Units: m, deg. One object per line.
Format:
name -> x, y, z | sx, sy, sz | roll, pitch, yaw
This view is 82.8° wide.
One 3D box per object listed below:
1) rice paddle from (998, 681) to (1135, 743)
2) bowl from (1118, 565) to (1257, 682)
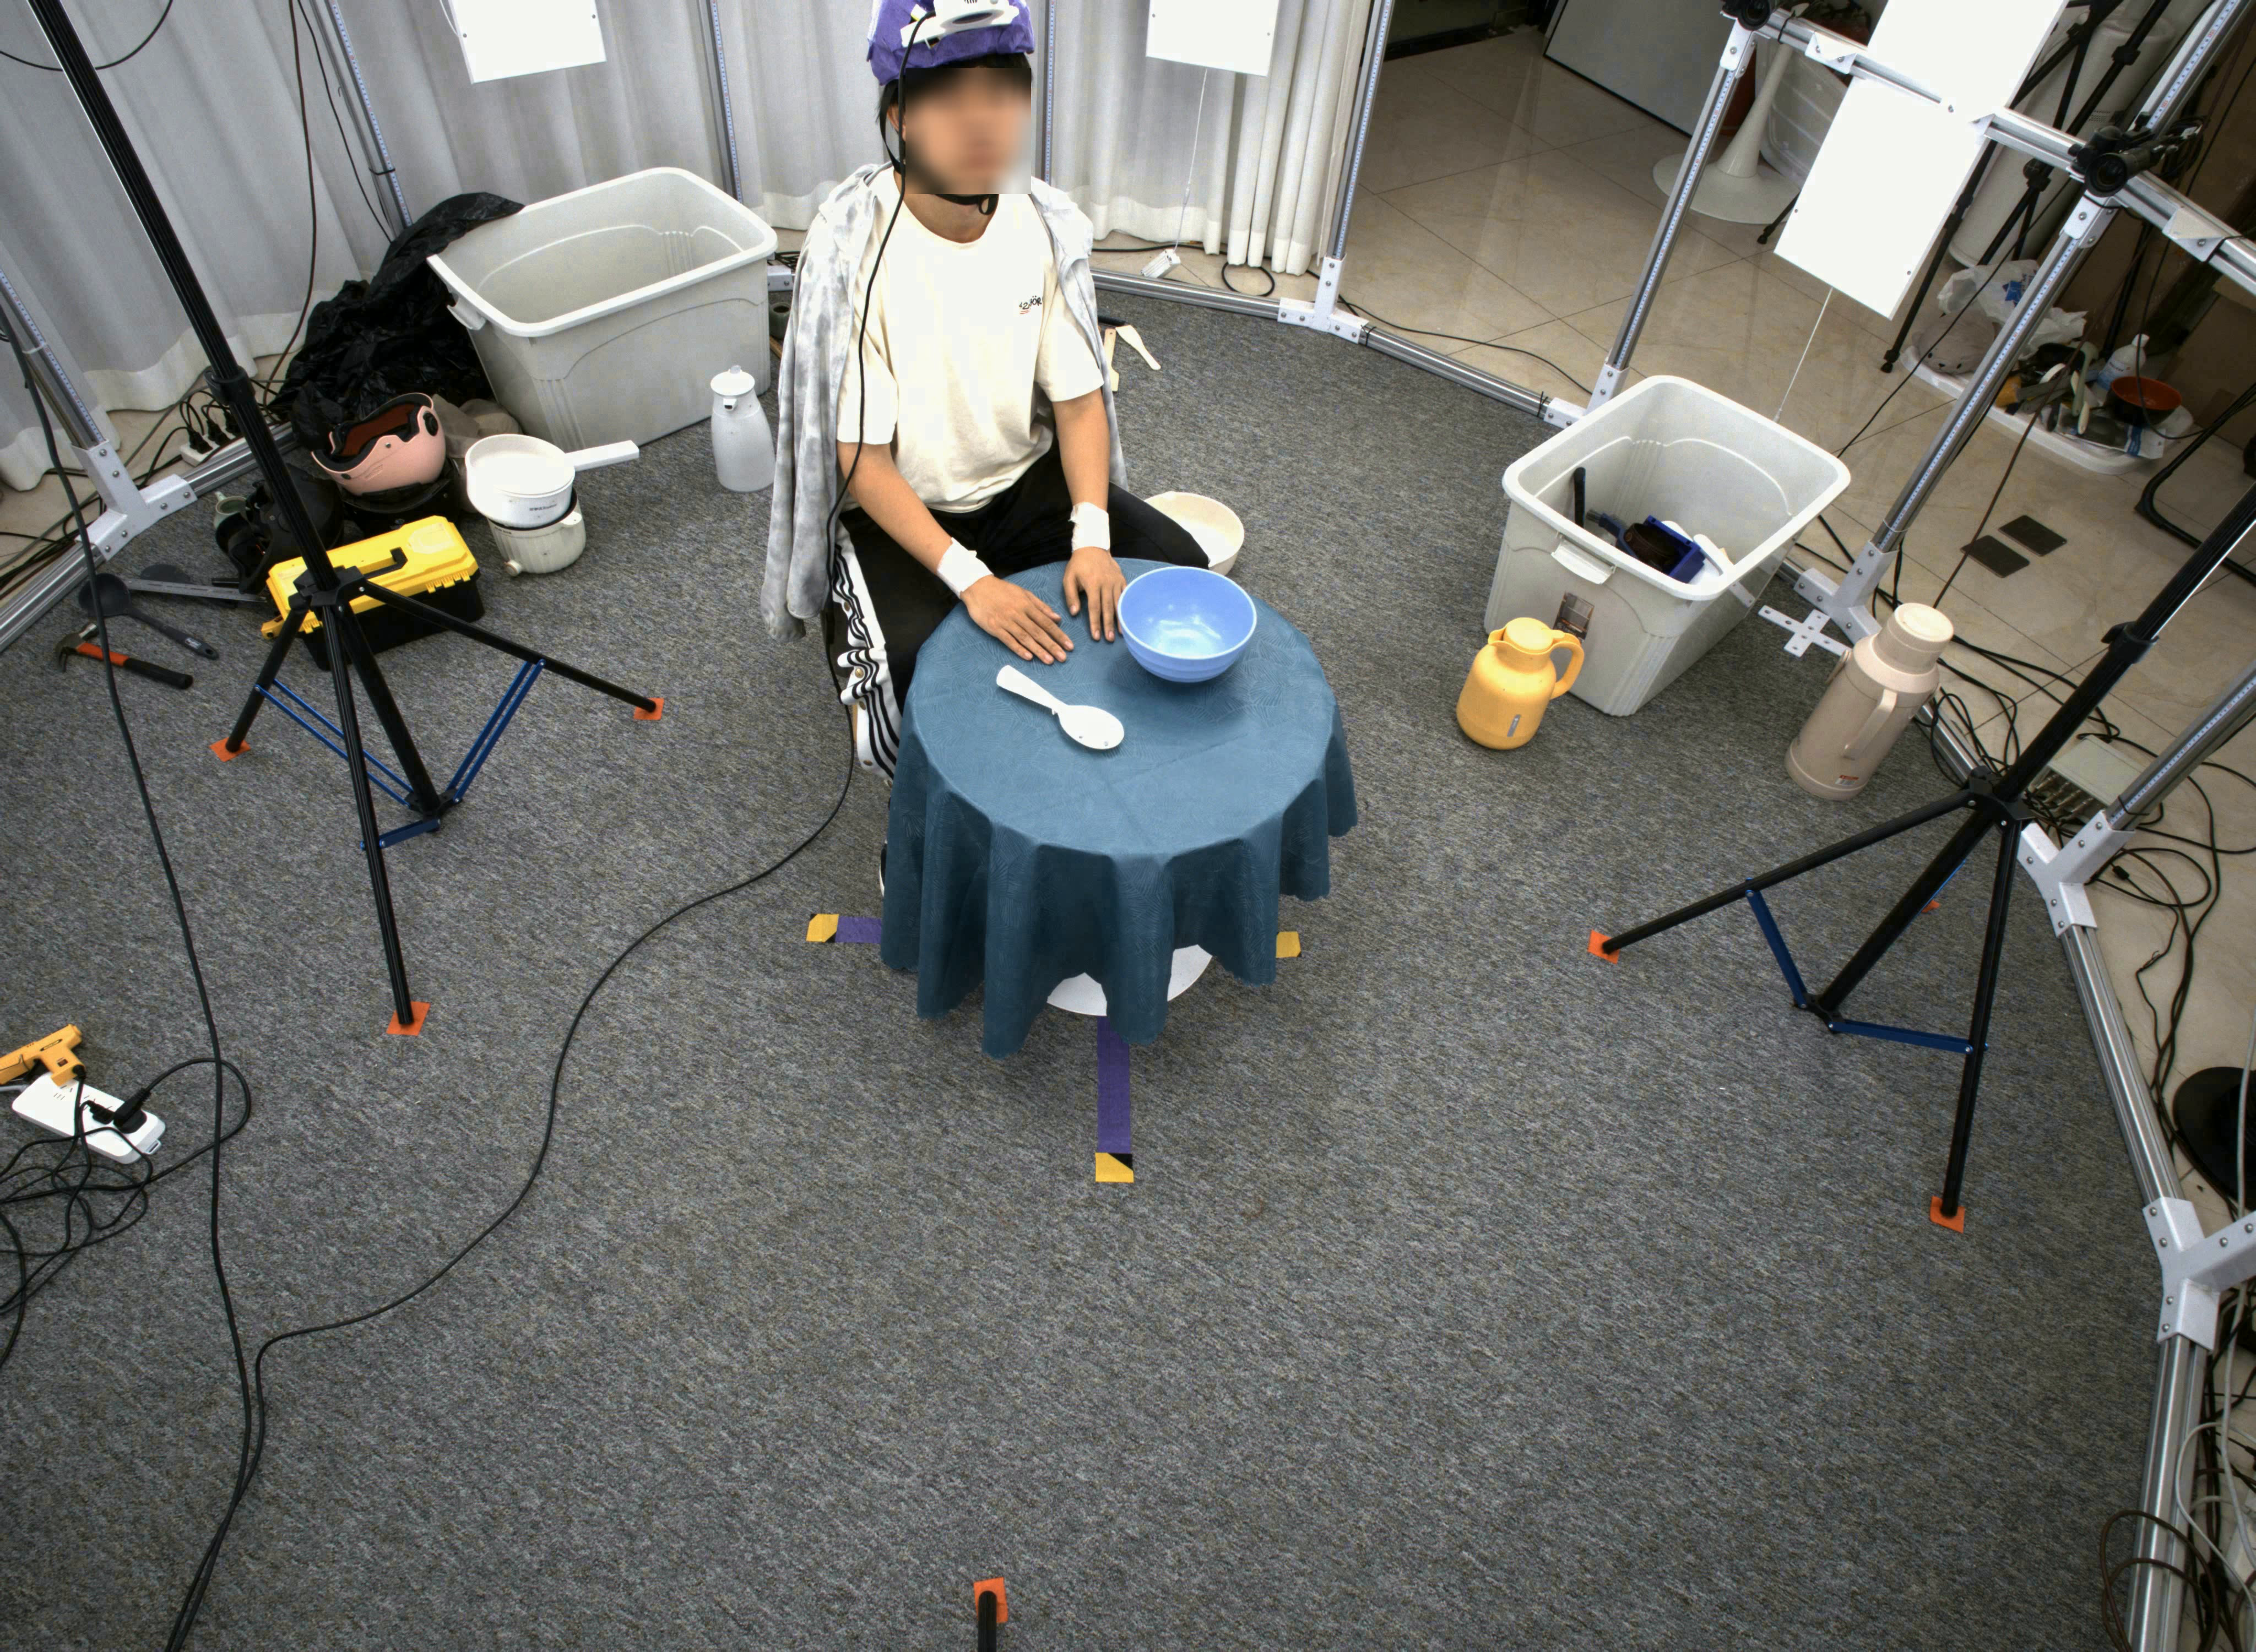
rice paddle -> -0.084, -0.157, 1.778 | 0.207, 0.029, 0.070 | 21, 38, 18
bowl -> 0.081, -0.275, 1.843 | 0.196, 0.093, 0.201 | 2, 51, -2
